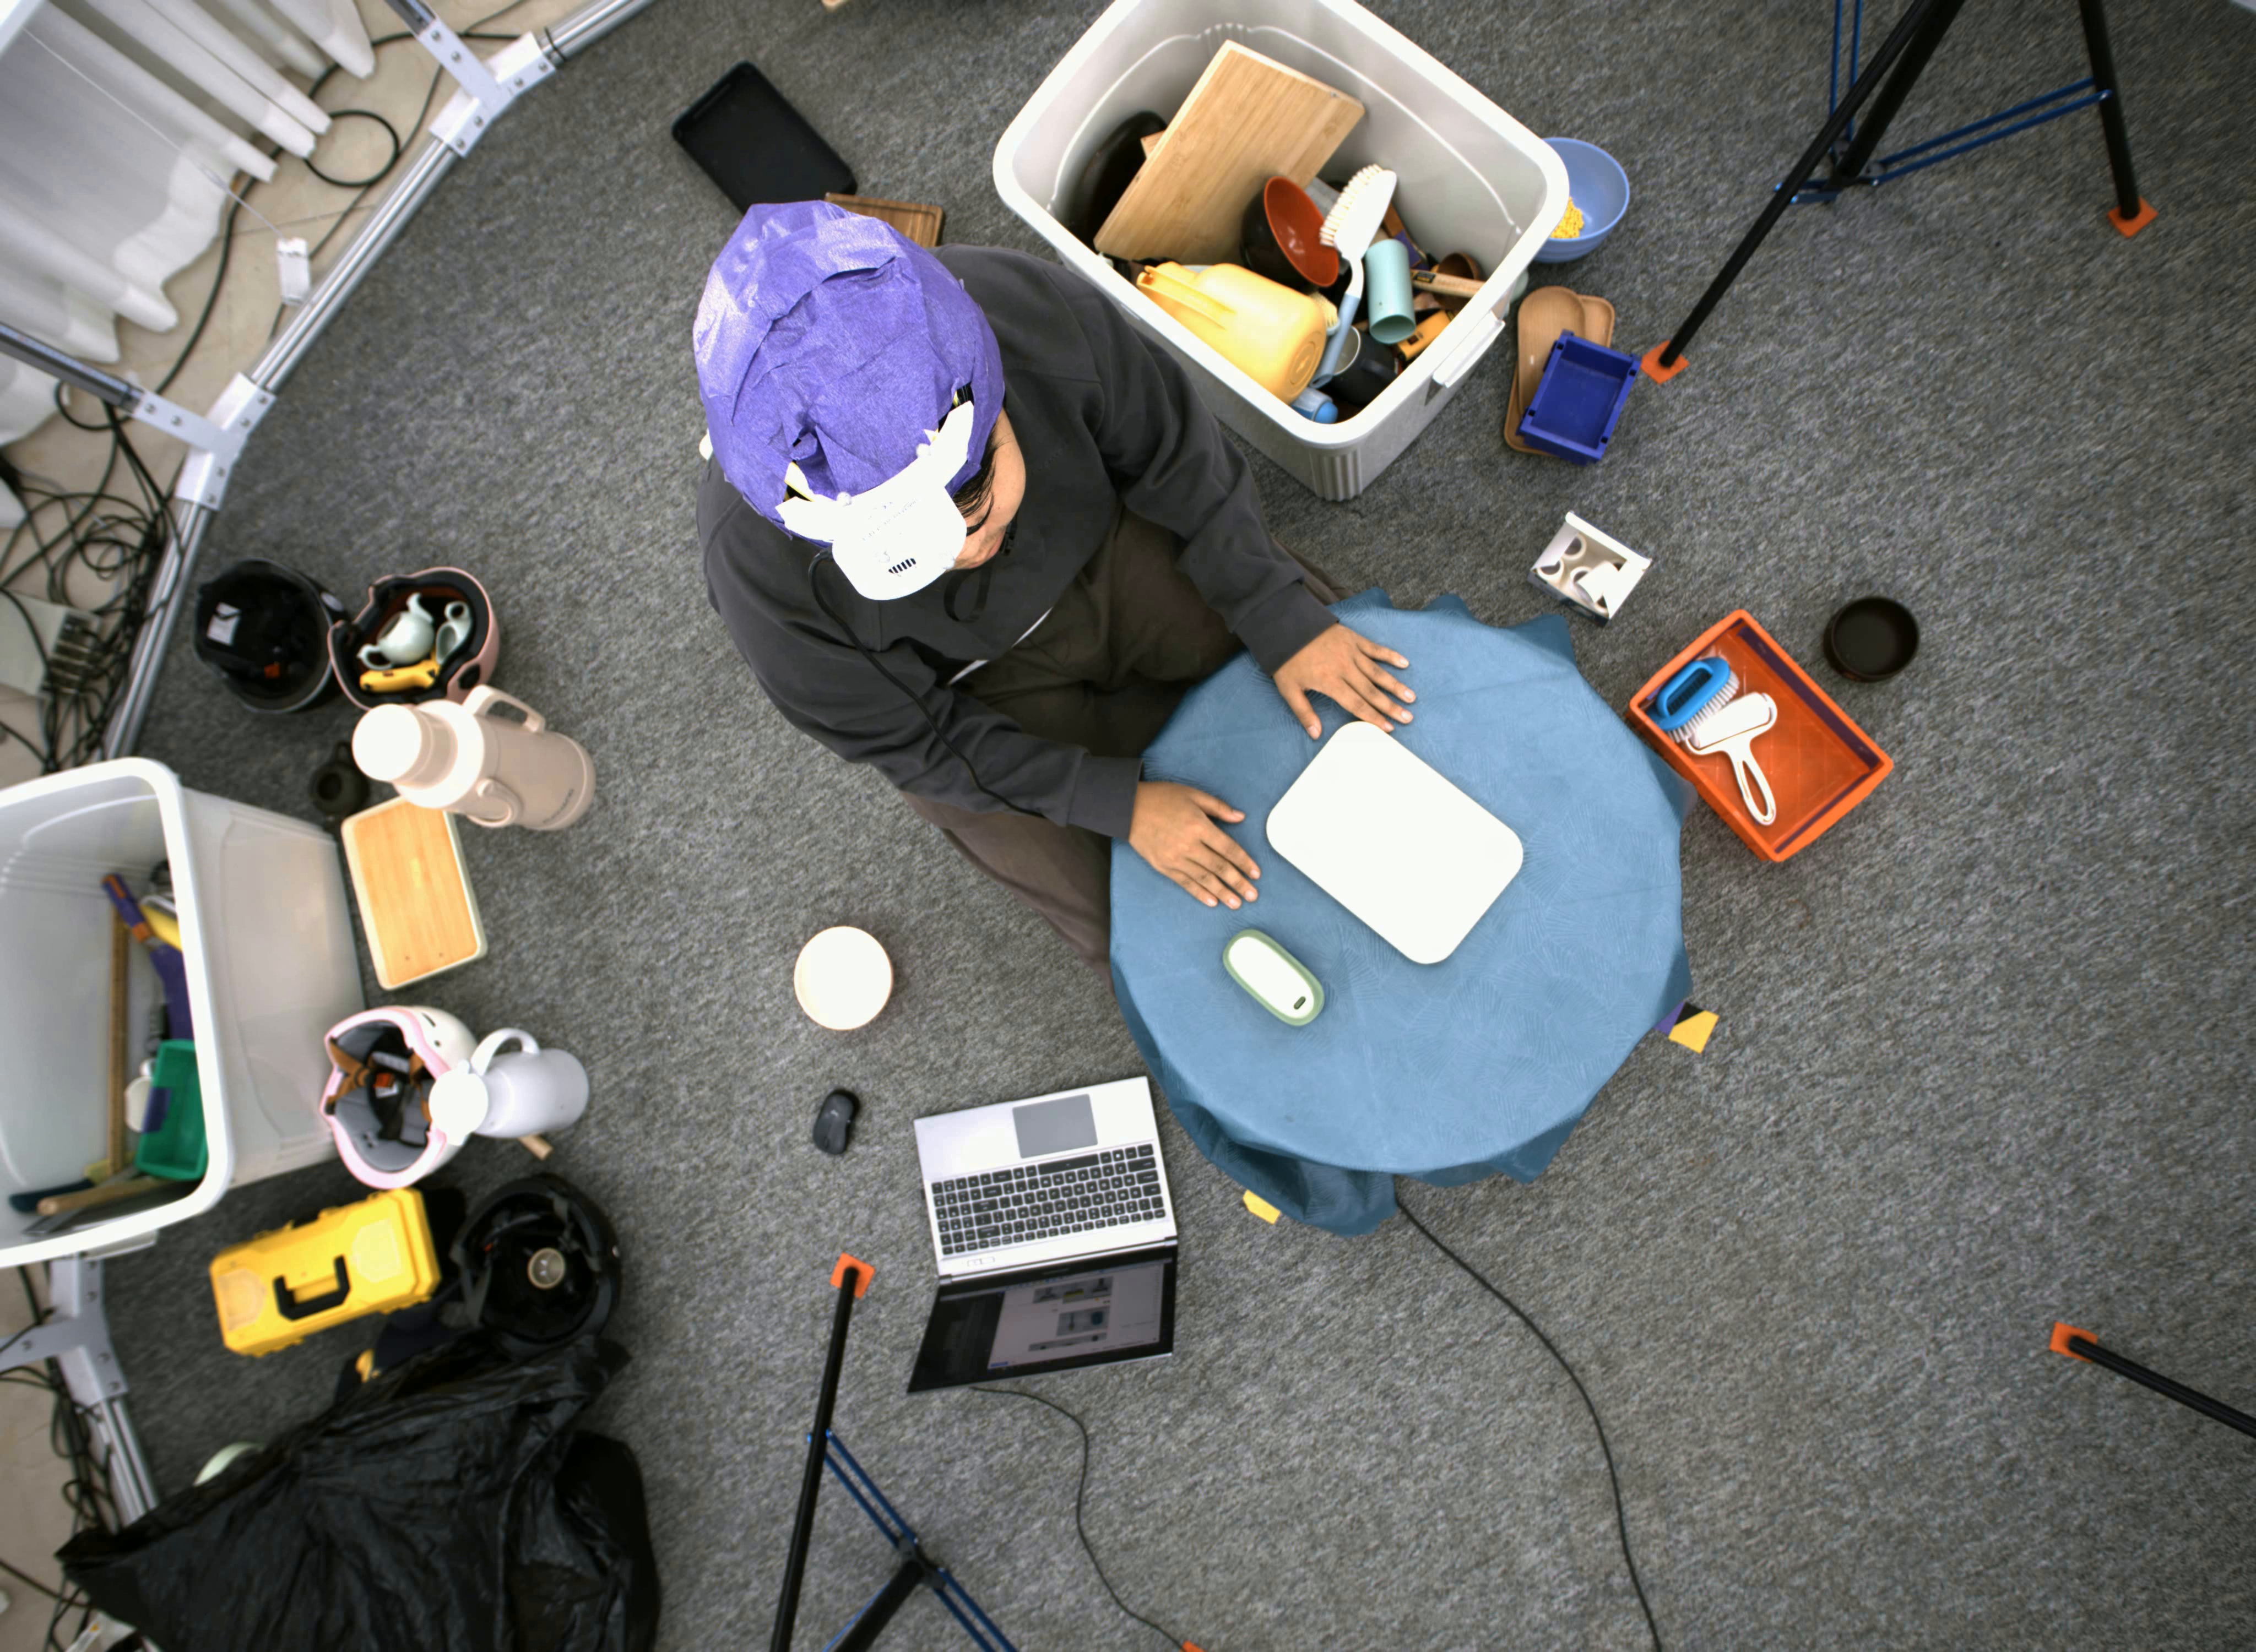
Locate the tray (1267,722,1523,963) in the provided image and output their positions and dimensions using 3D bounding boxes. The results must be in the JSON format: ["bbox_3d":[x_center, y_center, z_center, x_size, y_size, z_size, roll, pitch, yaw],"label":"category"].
[{"bbox_3d":[0.279,0.015,1.453,0.239,0.017,0.172,40,94,11],"label":"tray"}]

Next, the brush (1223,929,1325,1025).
[{"bbox_3d":[0.153,0.158,1.451,0.122,0.076,0.060,41,92,25],"label":"brush"}]
